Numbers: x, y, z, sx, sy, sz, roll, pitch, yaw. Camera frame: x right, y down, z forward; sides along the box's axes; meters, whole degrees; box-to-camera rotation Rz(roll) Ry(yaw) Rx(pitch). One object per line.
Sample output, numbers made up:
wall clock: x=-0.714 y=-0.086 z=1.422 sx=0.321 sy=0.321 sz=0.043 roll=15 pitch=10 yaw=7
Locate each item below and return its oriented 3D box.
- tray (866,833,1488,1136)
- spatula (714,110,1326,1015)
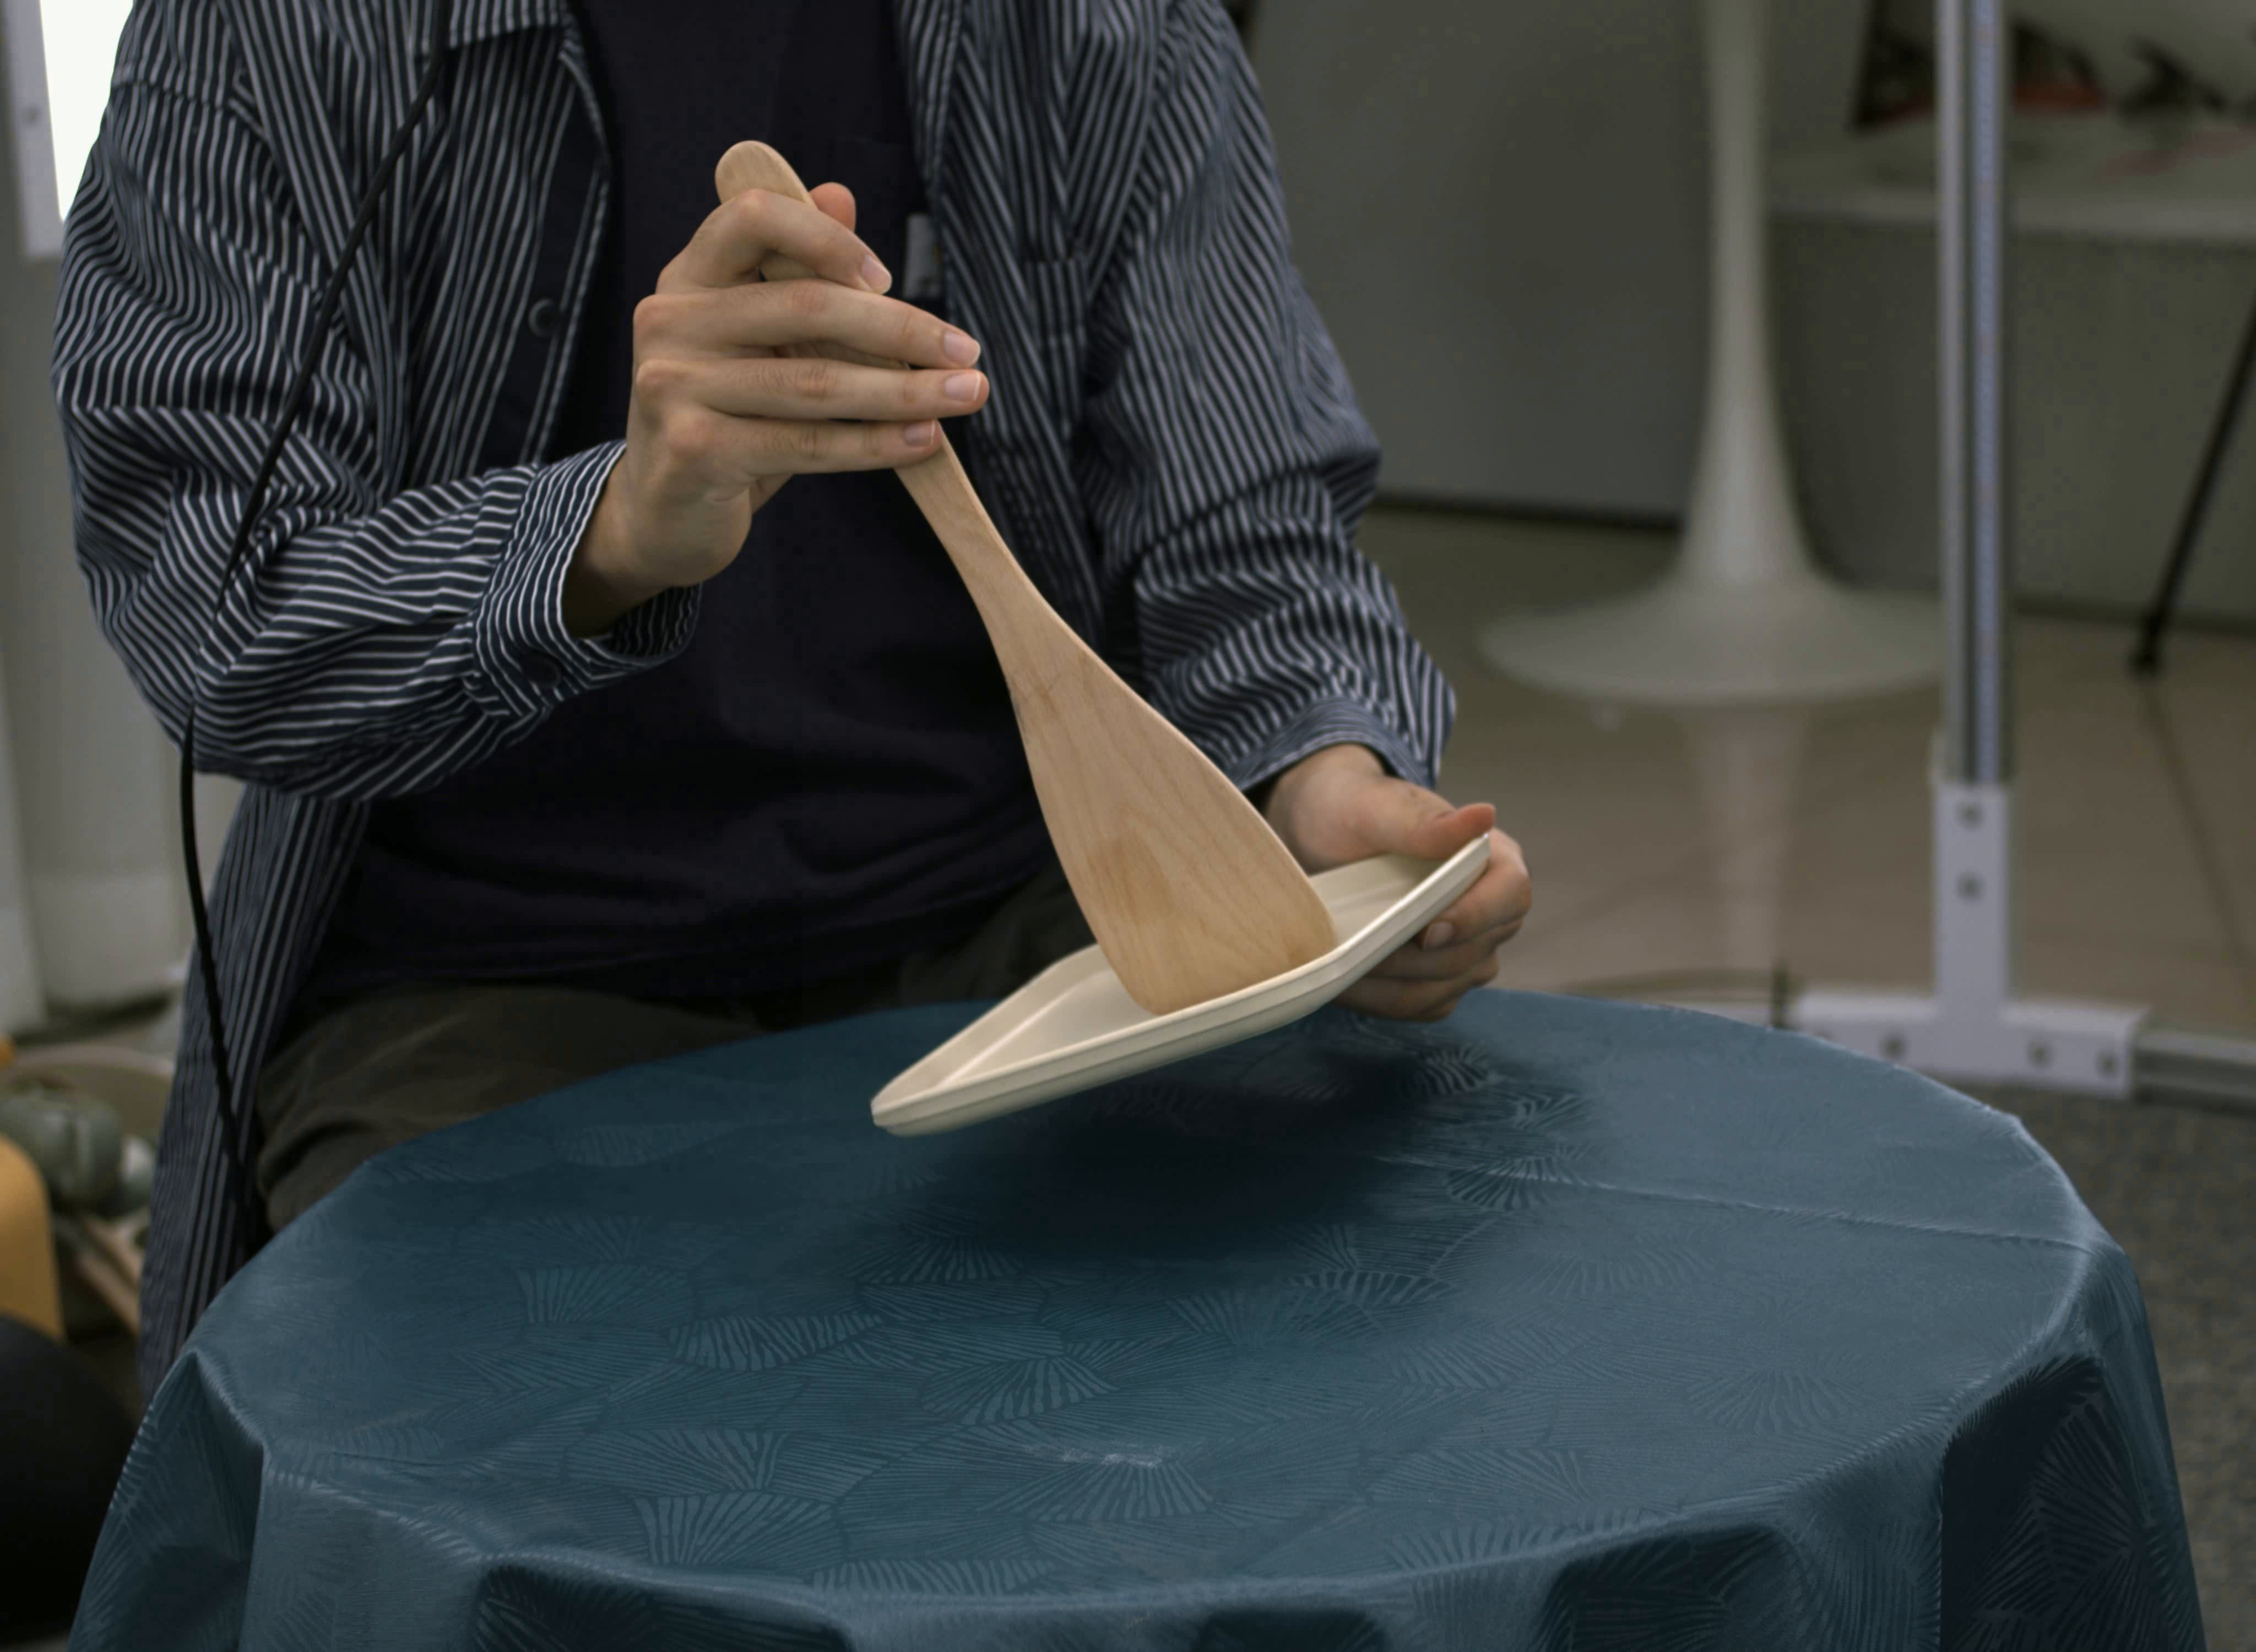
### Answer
tray: x=0.021 y=0.052 z=1.773 sx=0.171 sy=0.017 sz=0.237 roll=-18 pitch=5 yaw=21
spatula: x=-0.046 y=-0.086 z=1.742 sx=0.080 sy=0.330 sz=0.016 roll=-32 pitch=-5 yaw=29
